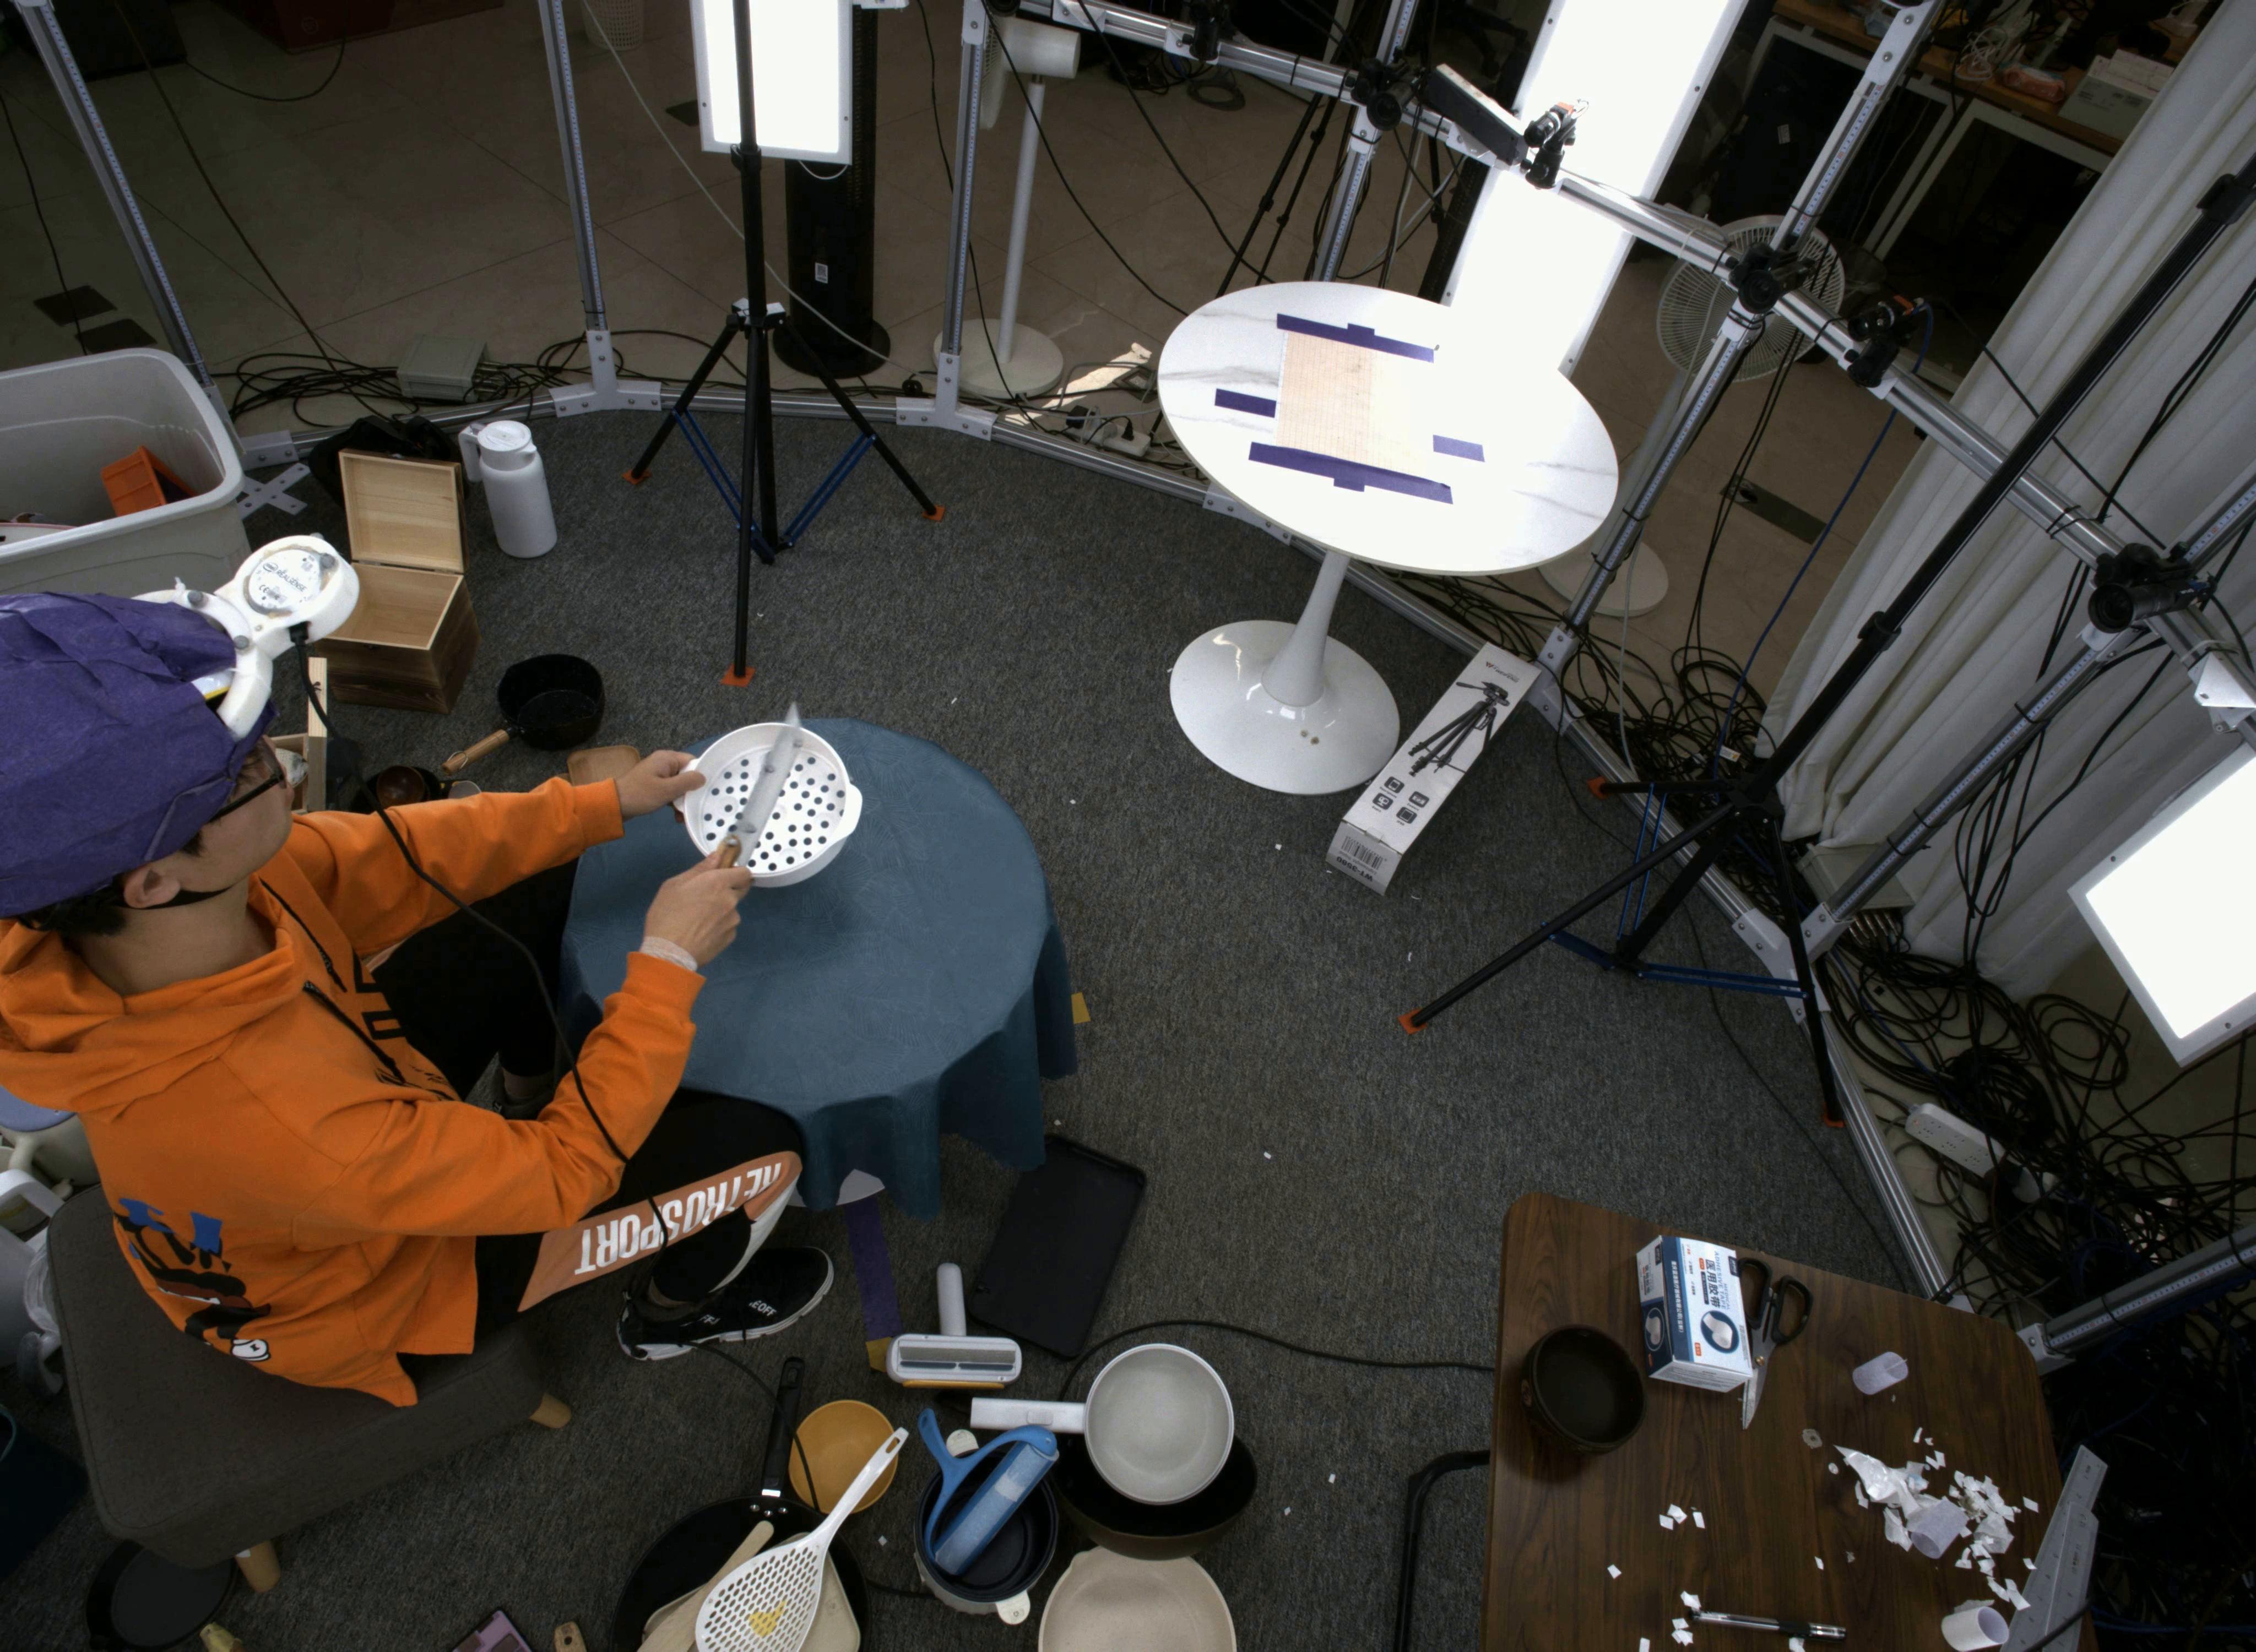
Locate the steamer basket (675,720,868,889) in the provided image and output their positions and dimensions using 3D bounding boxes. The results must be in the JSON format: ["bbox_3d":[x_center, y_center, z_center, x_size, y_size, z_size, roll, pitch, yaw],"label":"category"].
[{"bbox_3d":[-0.431,-0.026,1.579,0.229,0.070,0.200,9,67,-5],"label":"steamer basket"}]

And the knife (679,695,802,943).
[{"bbox_3d":[-0.422,-0.002,1.431,0.021,0.094,0.304,17,64,1],"label":"knife"}]
